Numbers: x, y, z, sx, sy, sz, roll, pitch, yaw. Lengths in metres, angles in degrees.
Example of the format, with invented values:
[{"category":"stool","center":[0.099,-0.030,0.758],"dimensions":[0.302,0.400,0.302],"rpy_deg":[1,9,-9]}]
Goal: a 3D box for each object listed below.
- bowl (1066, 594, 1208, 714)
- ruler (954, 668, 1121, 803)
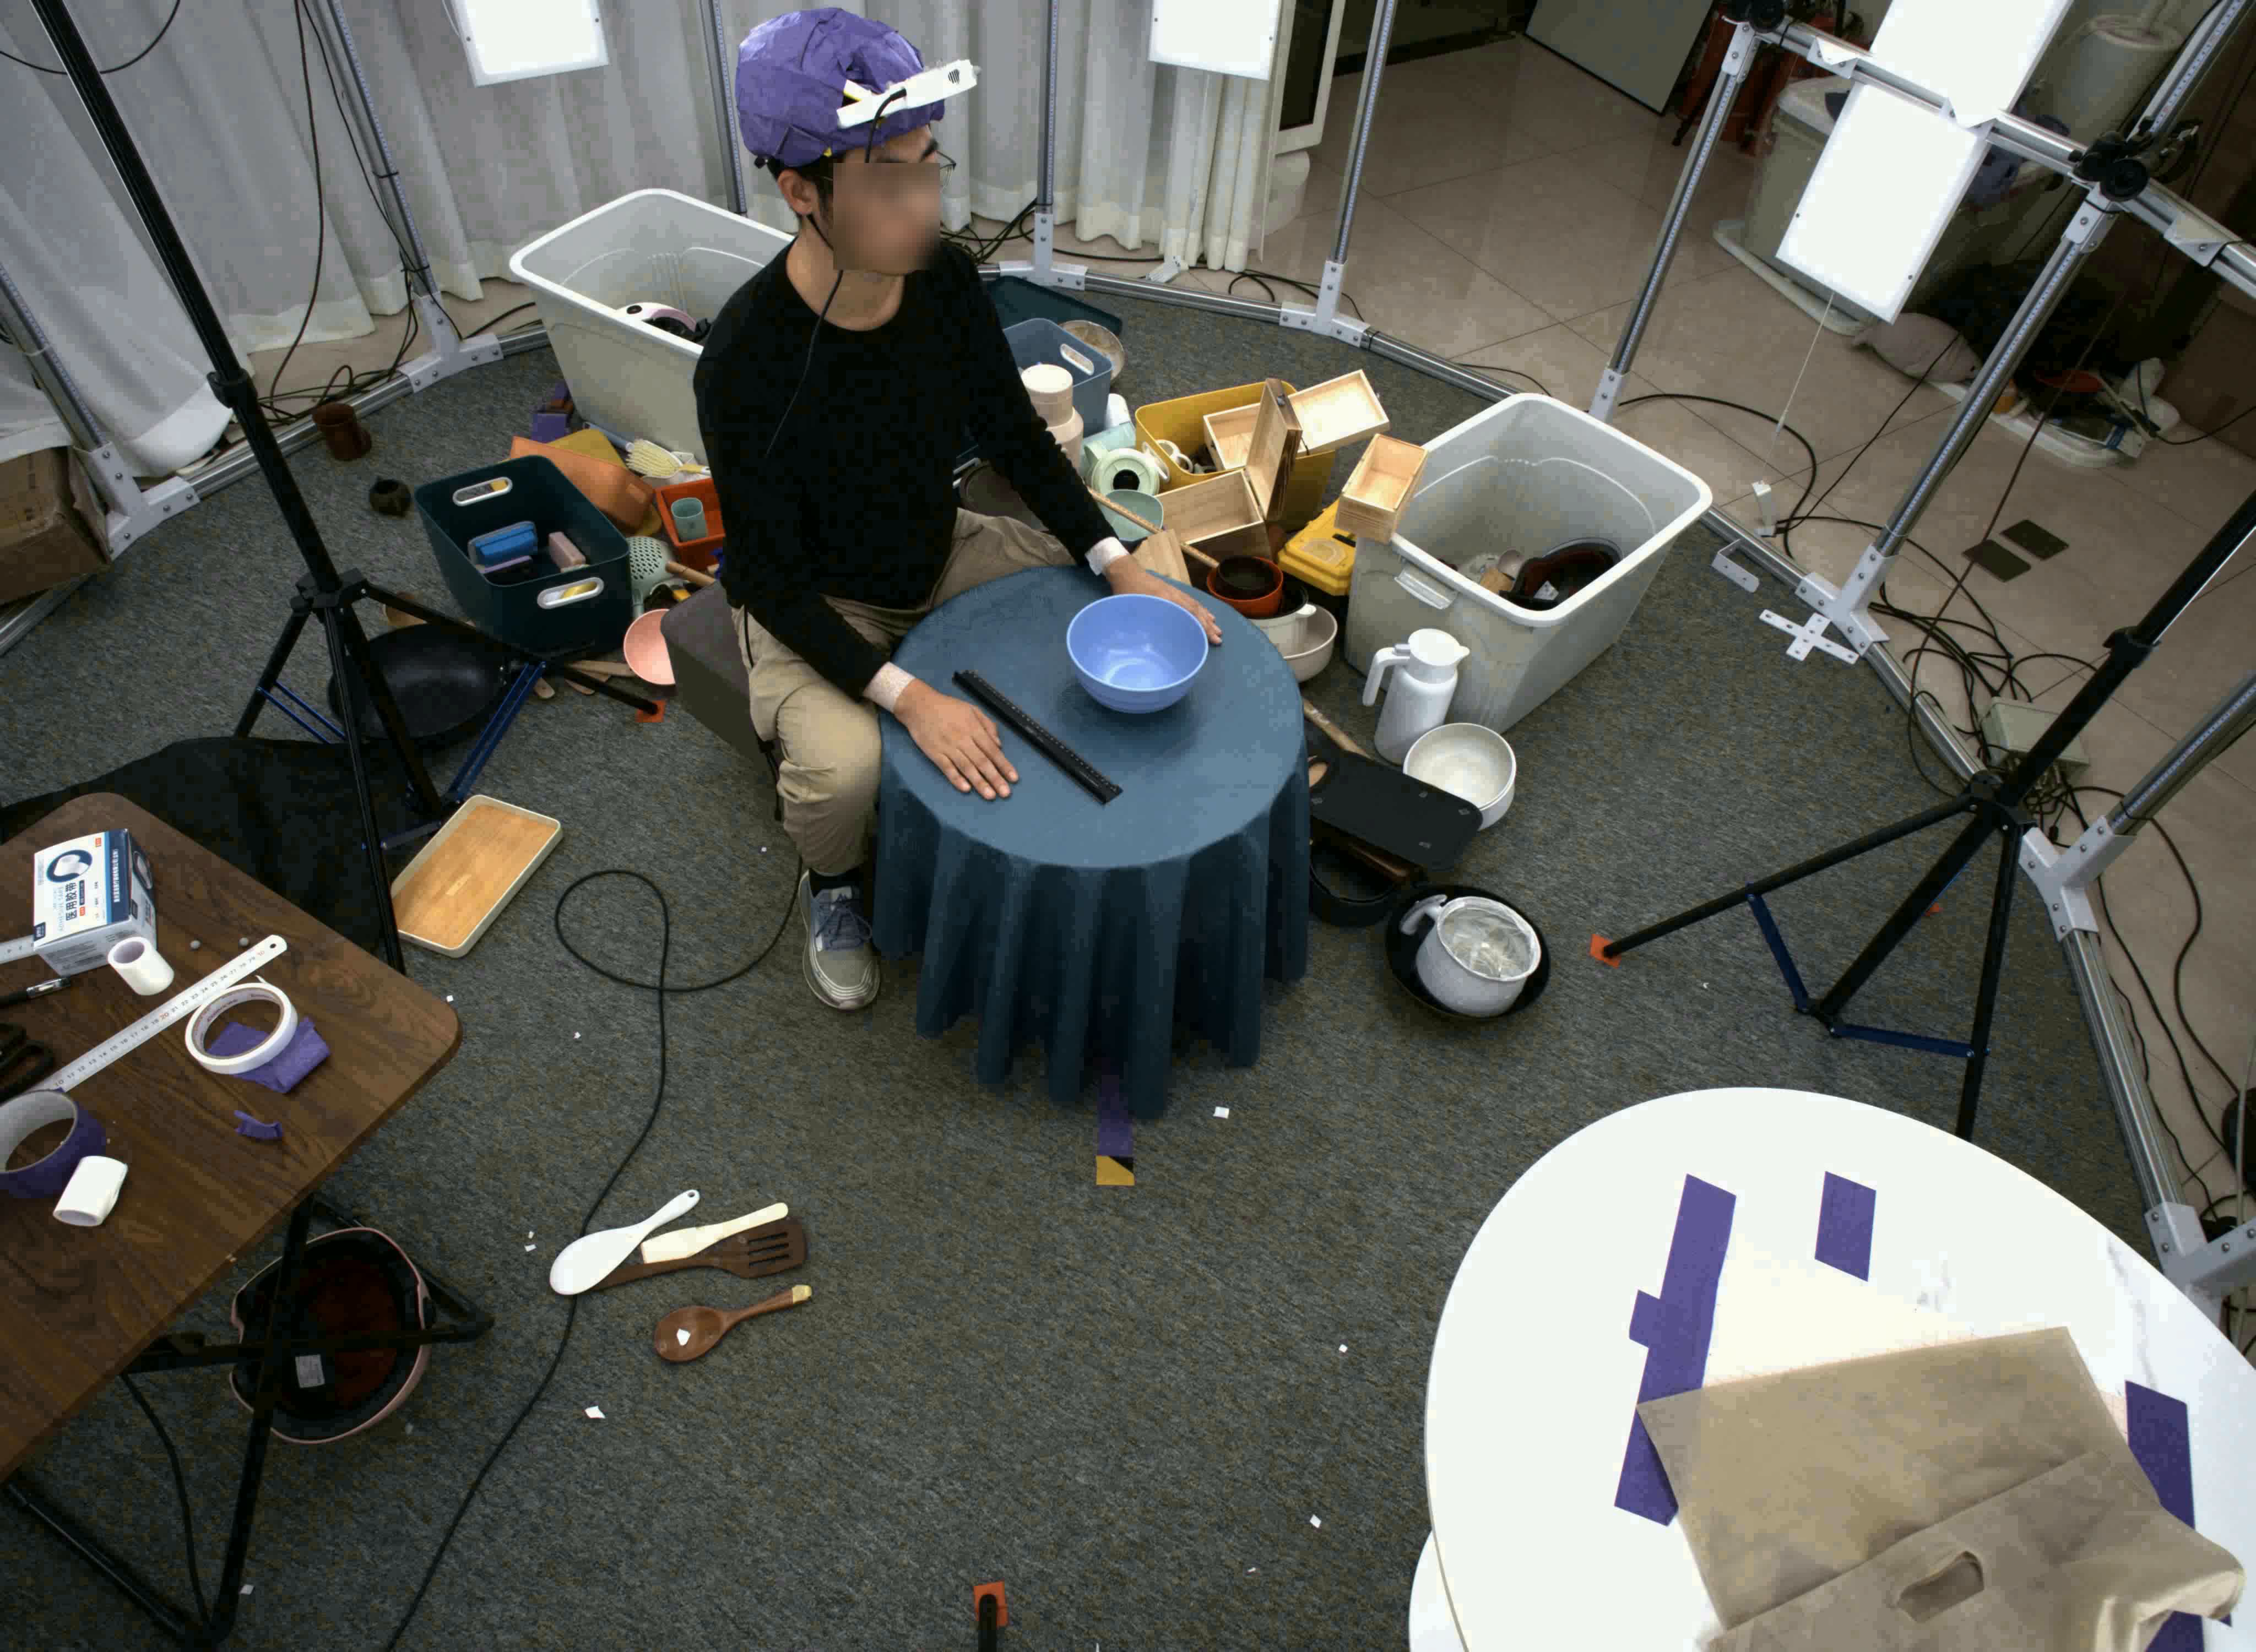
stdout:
[{"category":"bowl","center":[0.010,-0.227,1.806],"dimensions":[0.196,0.093,0.201],"rpy_deg":[2,49,-3]},{"category":"ruler","center":[-0.127,-0.133,1.767],"dimensions":[0.039,0.017,0.317],"rpy_deg":[-31,58,-32]}]
